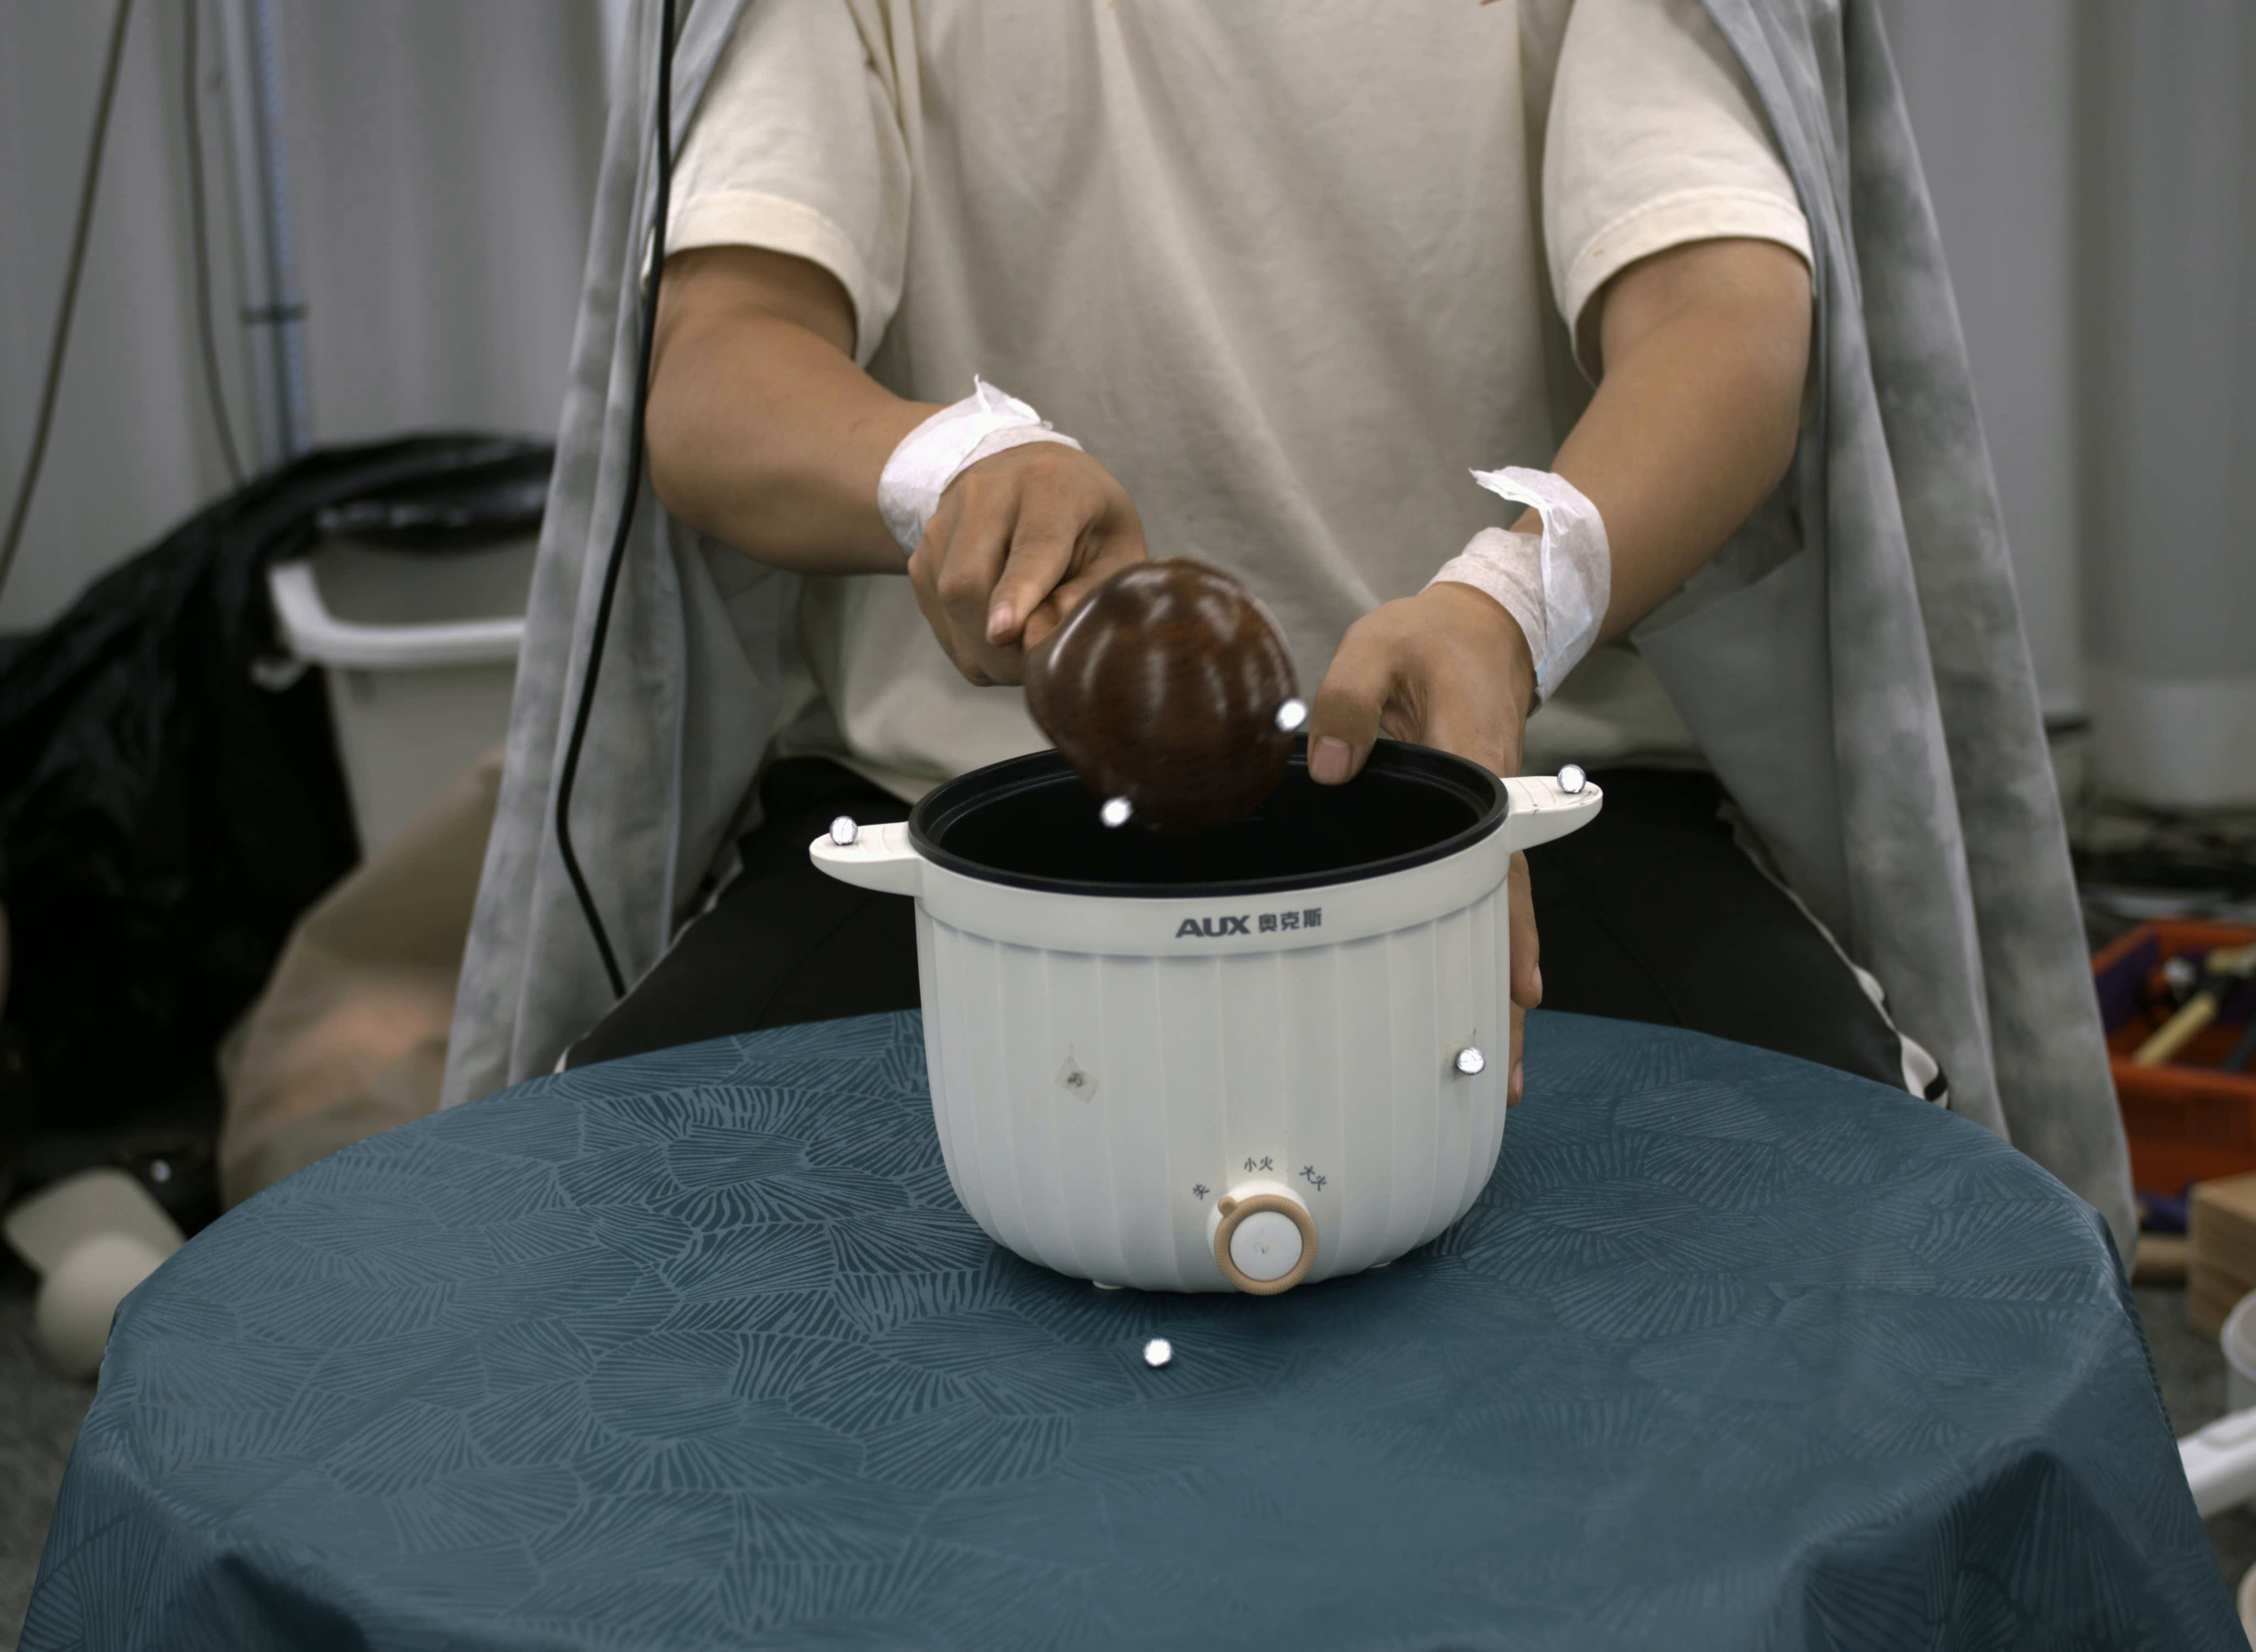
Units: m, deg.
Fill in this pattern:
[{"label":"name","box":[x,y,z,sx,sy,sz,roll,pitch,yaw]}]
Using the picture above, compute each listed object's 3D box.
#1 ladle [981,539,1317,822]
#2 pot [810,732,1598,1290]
[{"label":"ladle","box":[0.003,-0.055,1.685,0.076,0.082,0.275,4,6,-6]},{"label":"pot","box":[0.029,0.059,1.656,0.239,0.142,0.191,-5,11,-5]}]
